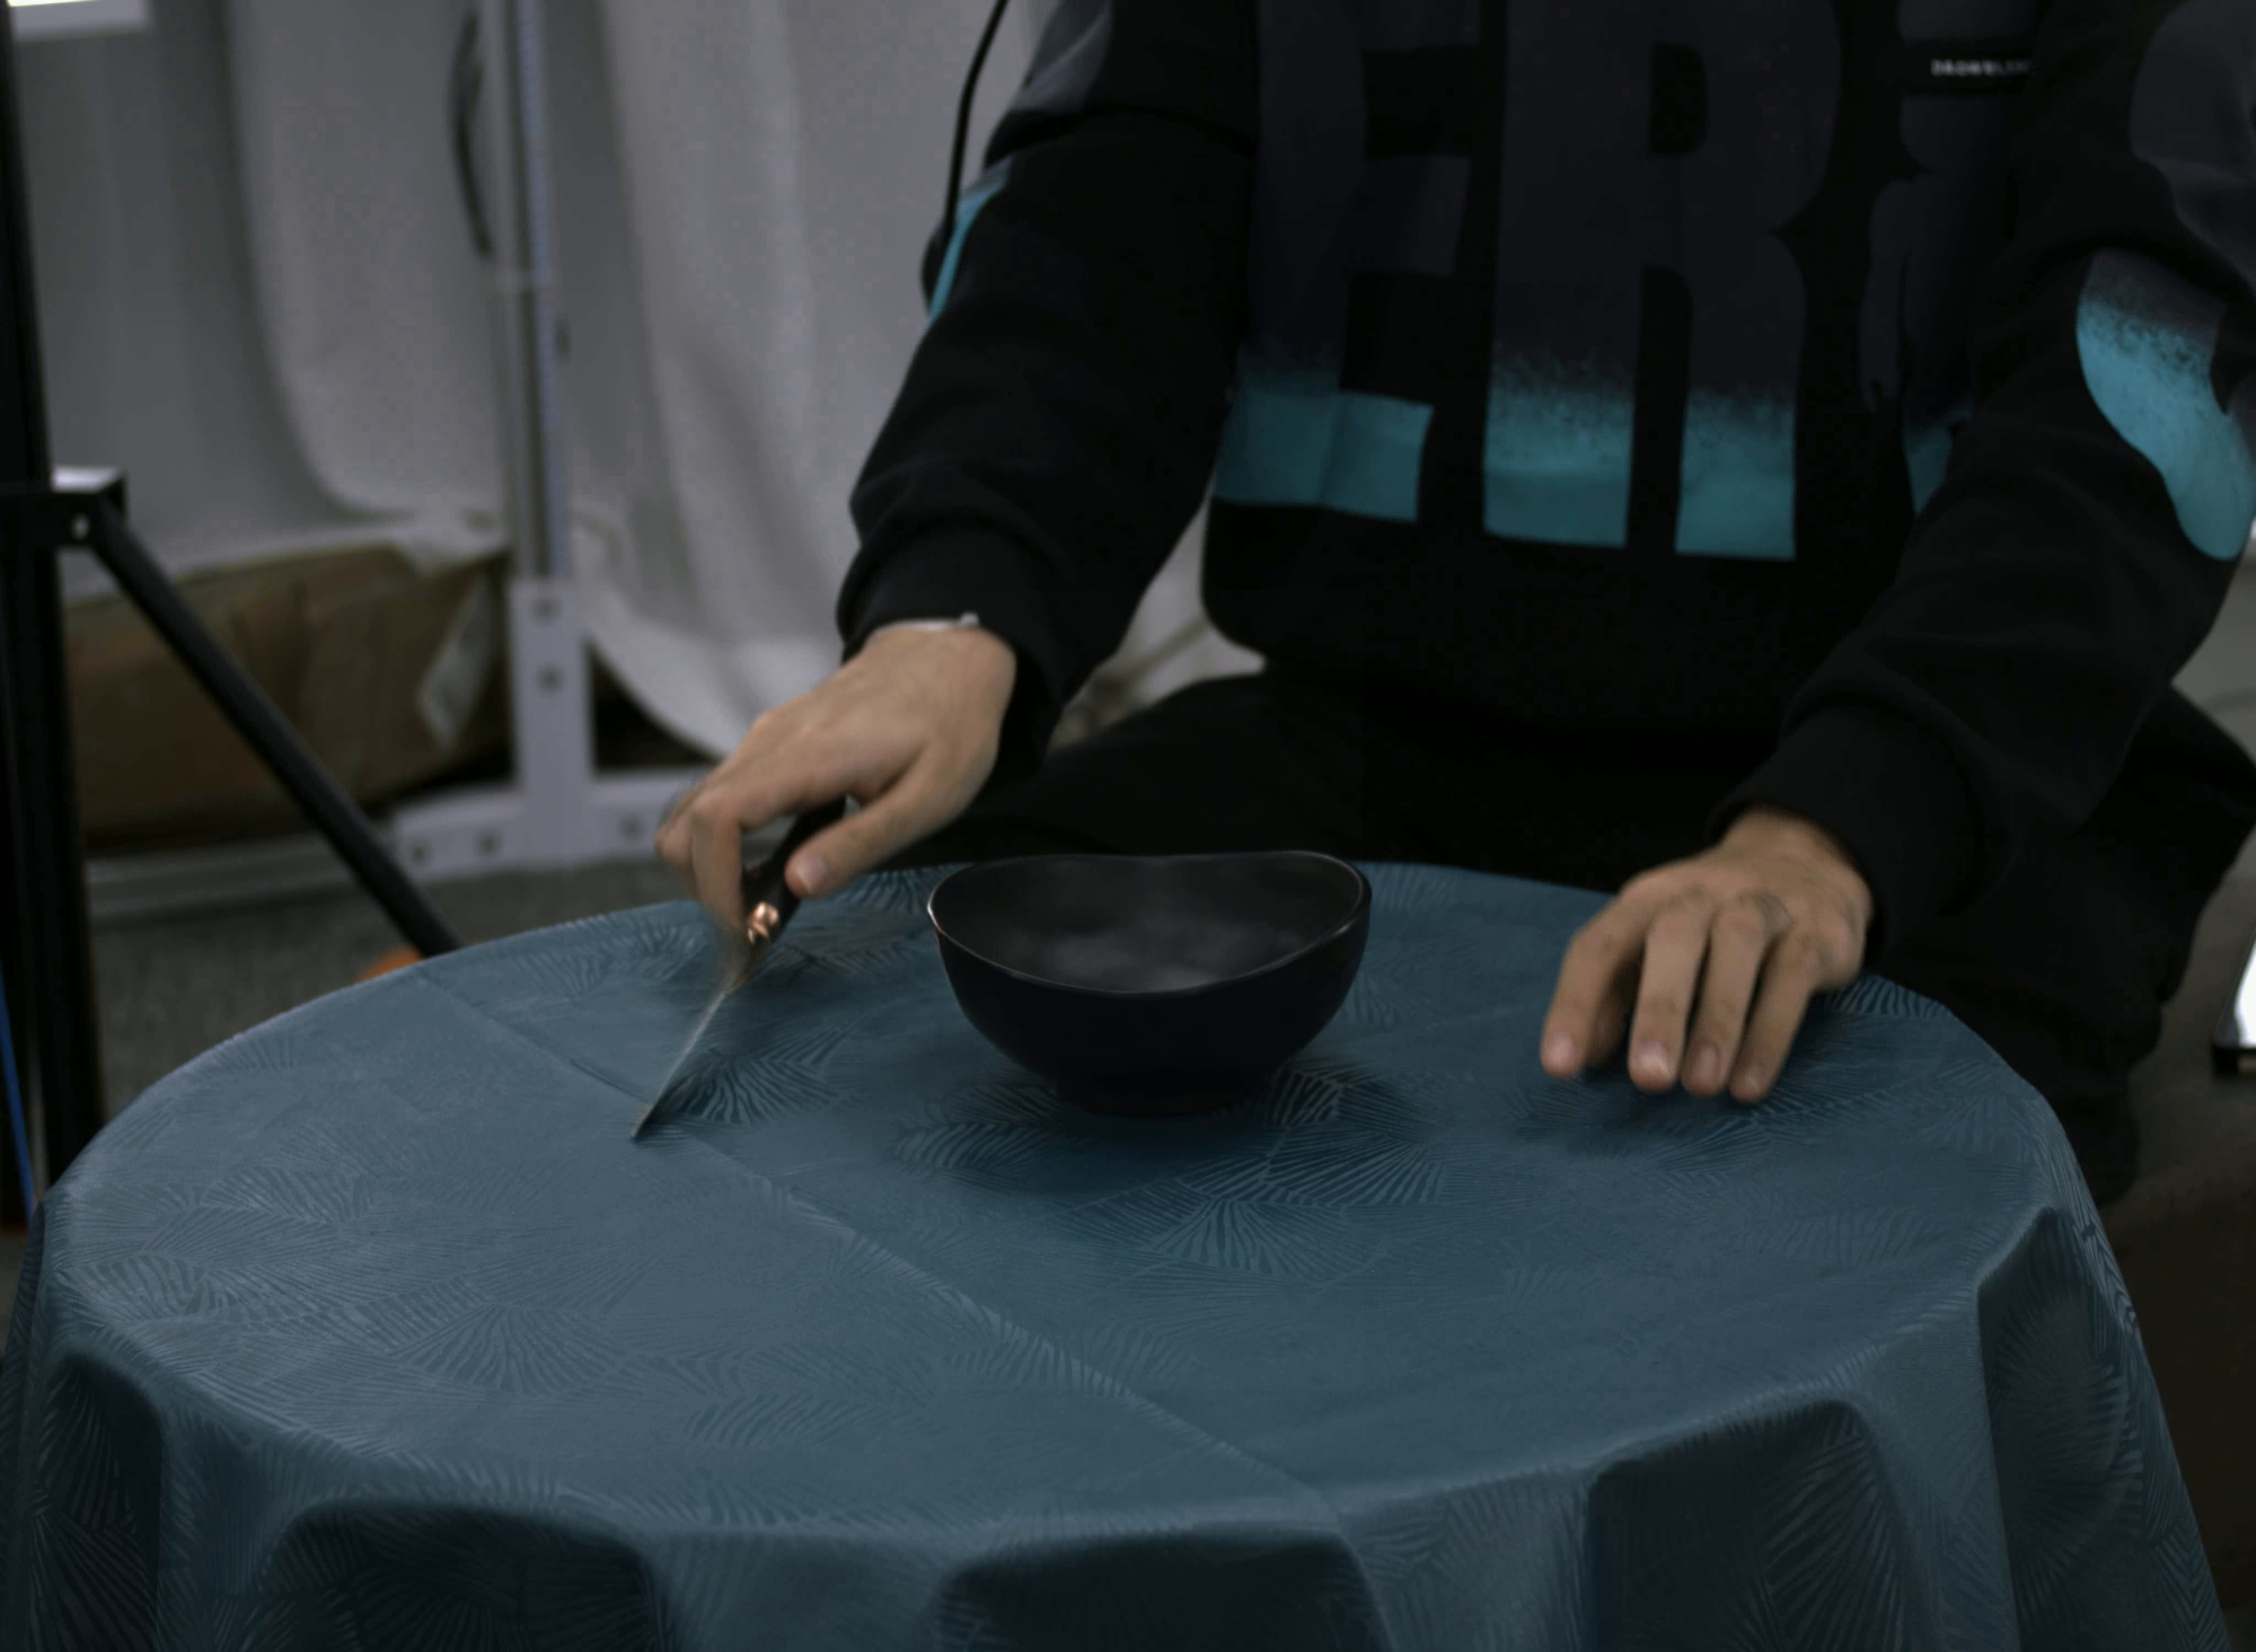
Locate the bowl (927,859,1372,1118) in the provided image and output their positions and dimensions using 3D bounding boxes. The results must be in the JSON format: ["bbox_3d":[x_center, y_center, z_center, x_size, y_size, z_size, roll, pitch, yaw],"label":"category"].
[{"bbox_3d":[0.008,0.051,1.641,0.137,0.067,0.170,-1,14,4],"label":"bowl"}]

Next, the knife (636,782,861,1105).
[{"bbox_3d":[-0.123,0.039,1.715,0.017,0.026,0.224,31,30,-1],"label":"knife"}]
